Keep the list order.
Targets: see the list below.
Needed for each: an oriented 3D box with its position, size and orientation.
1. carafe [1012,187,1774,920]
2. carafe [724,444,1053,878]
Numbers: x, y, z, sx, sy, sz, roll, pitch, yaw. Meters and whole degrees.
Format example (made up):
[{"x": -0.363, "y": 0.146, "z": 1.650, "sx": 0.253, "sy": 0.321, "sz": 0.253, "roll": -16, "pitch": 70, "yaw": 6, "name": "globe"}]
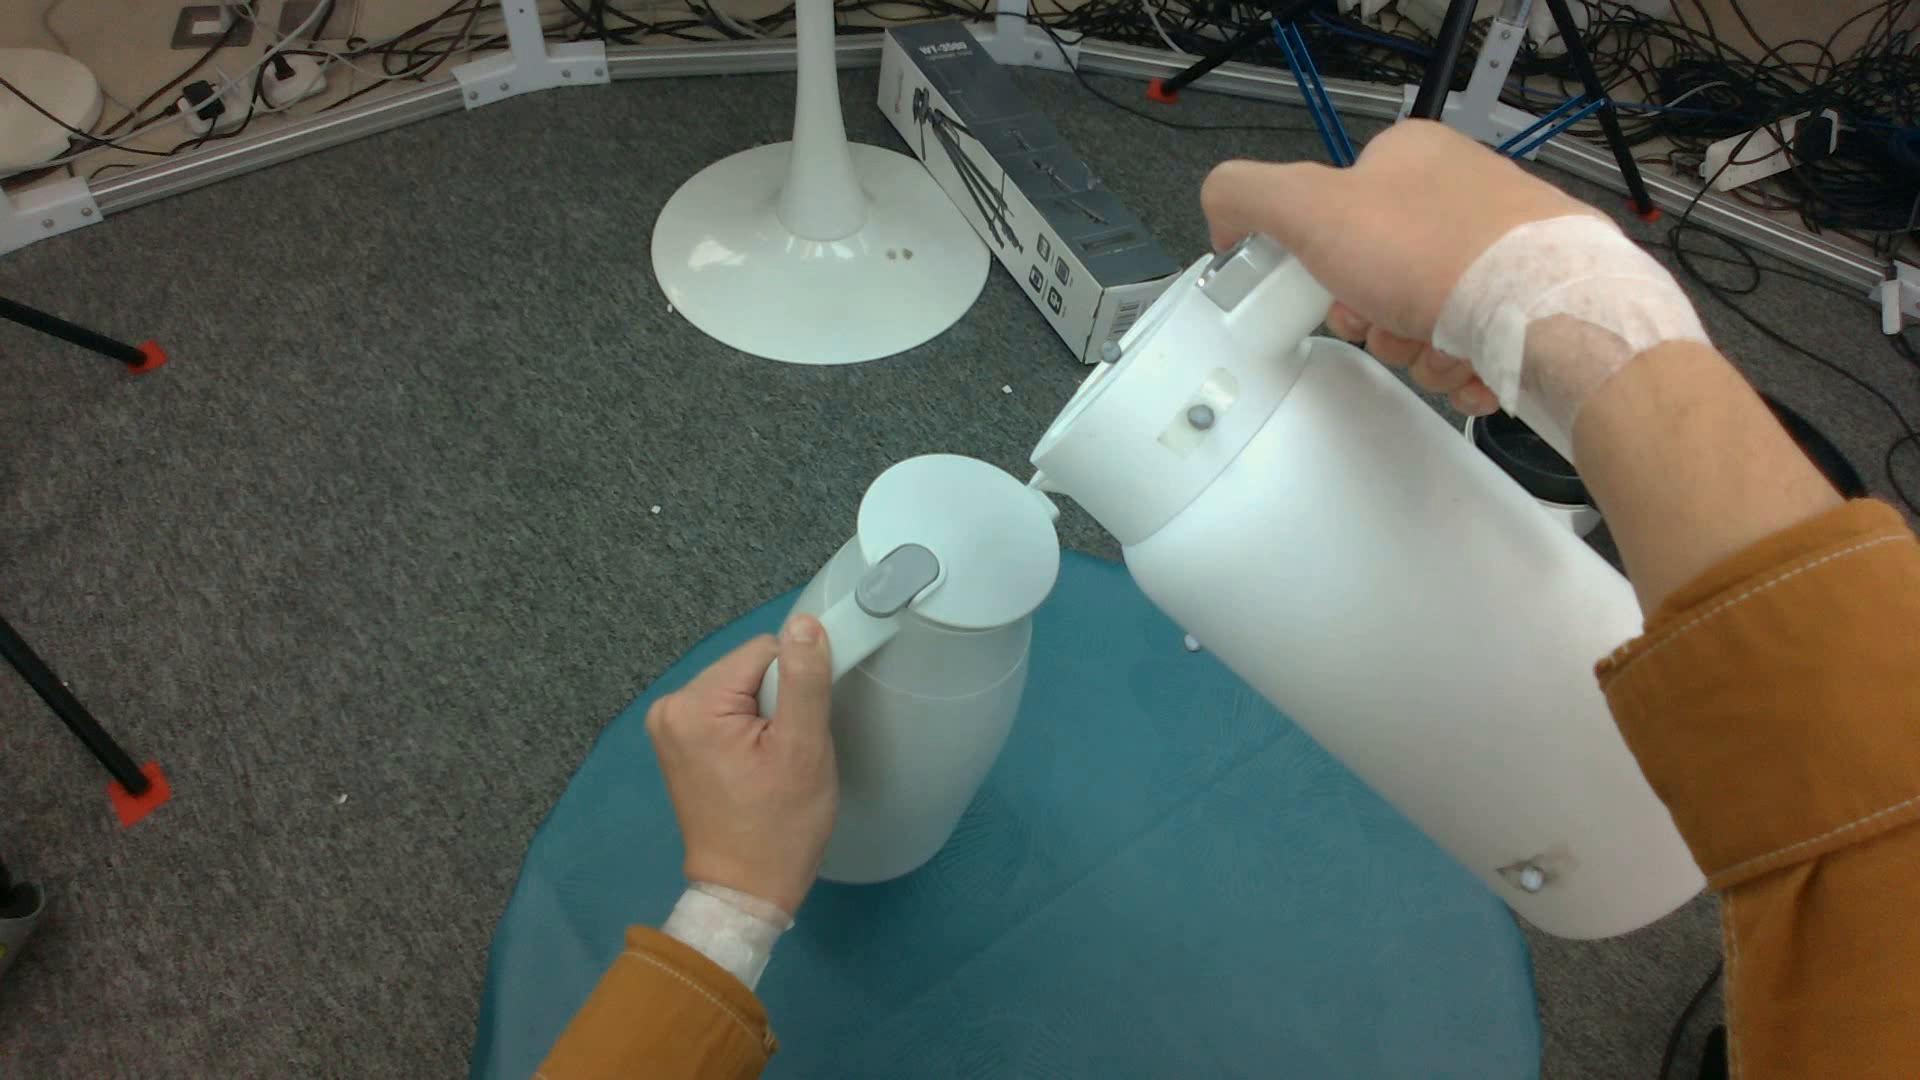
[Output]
[{"x": 0.165, "y": 0.004, "z": 0.496, "sx": 0.269, "sy": 0.172, "sz": 0.124, "roll": 41, "pitch": 41, "yaw": -2, "name": "carafe"}, {"x": -0.045, "y": 0.069, "z": 0.676, "sx": 0.168, "sy": 0.247, "sz": 0.132, "roll": -33, "pitch": 71, "yaw": -34, "name": "carafe"}]
